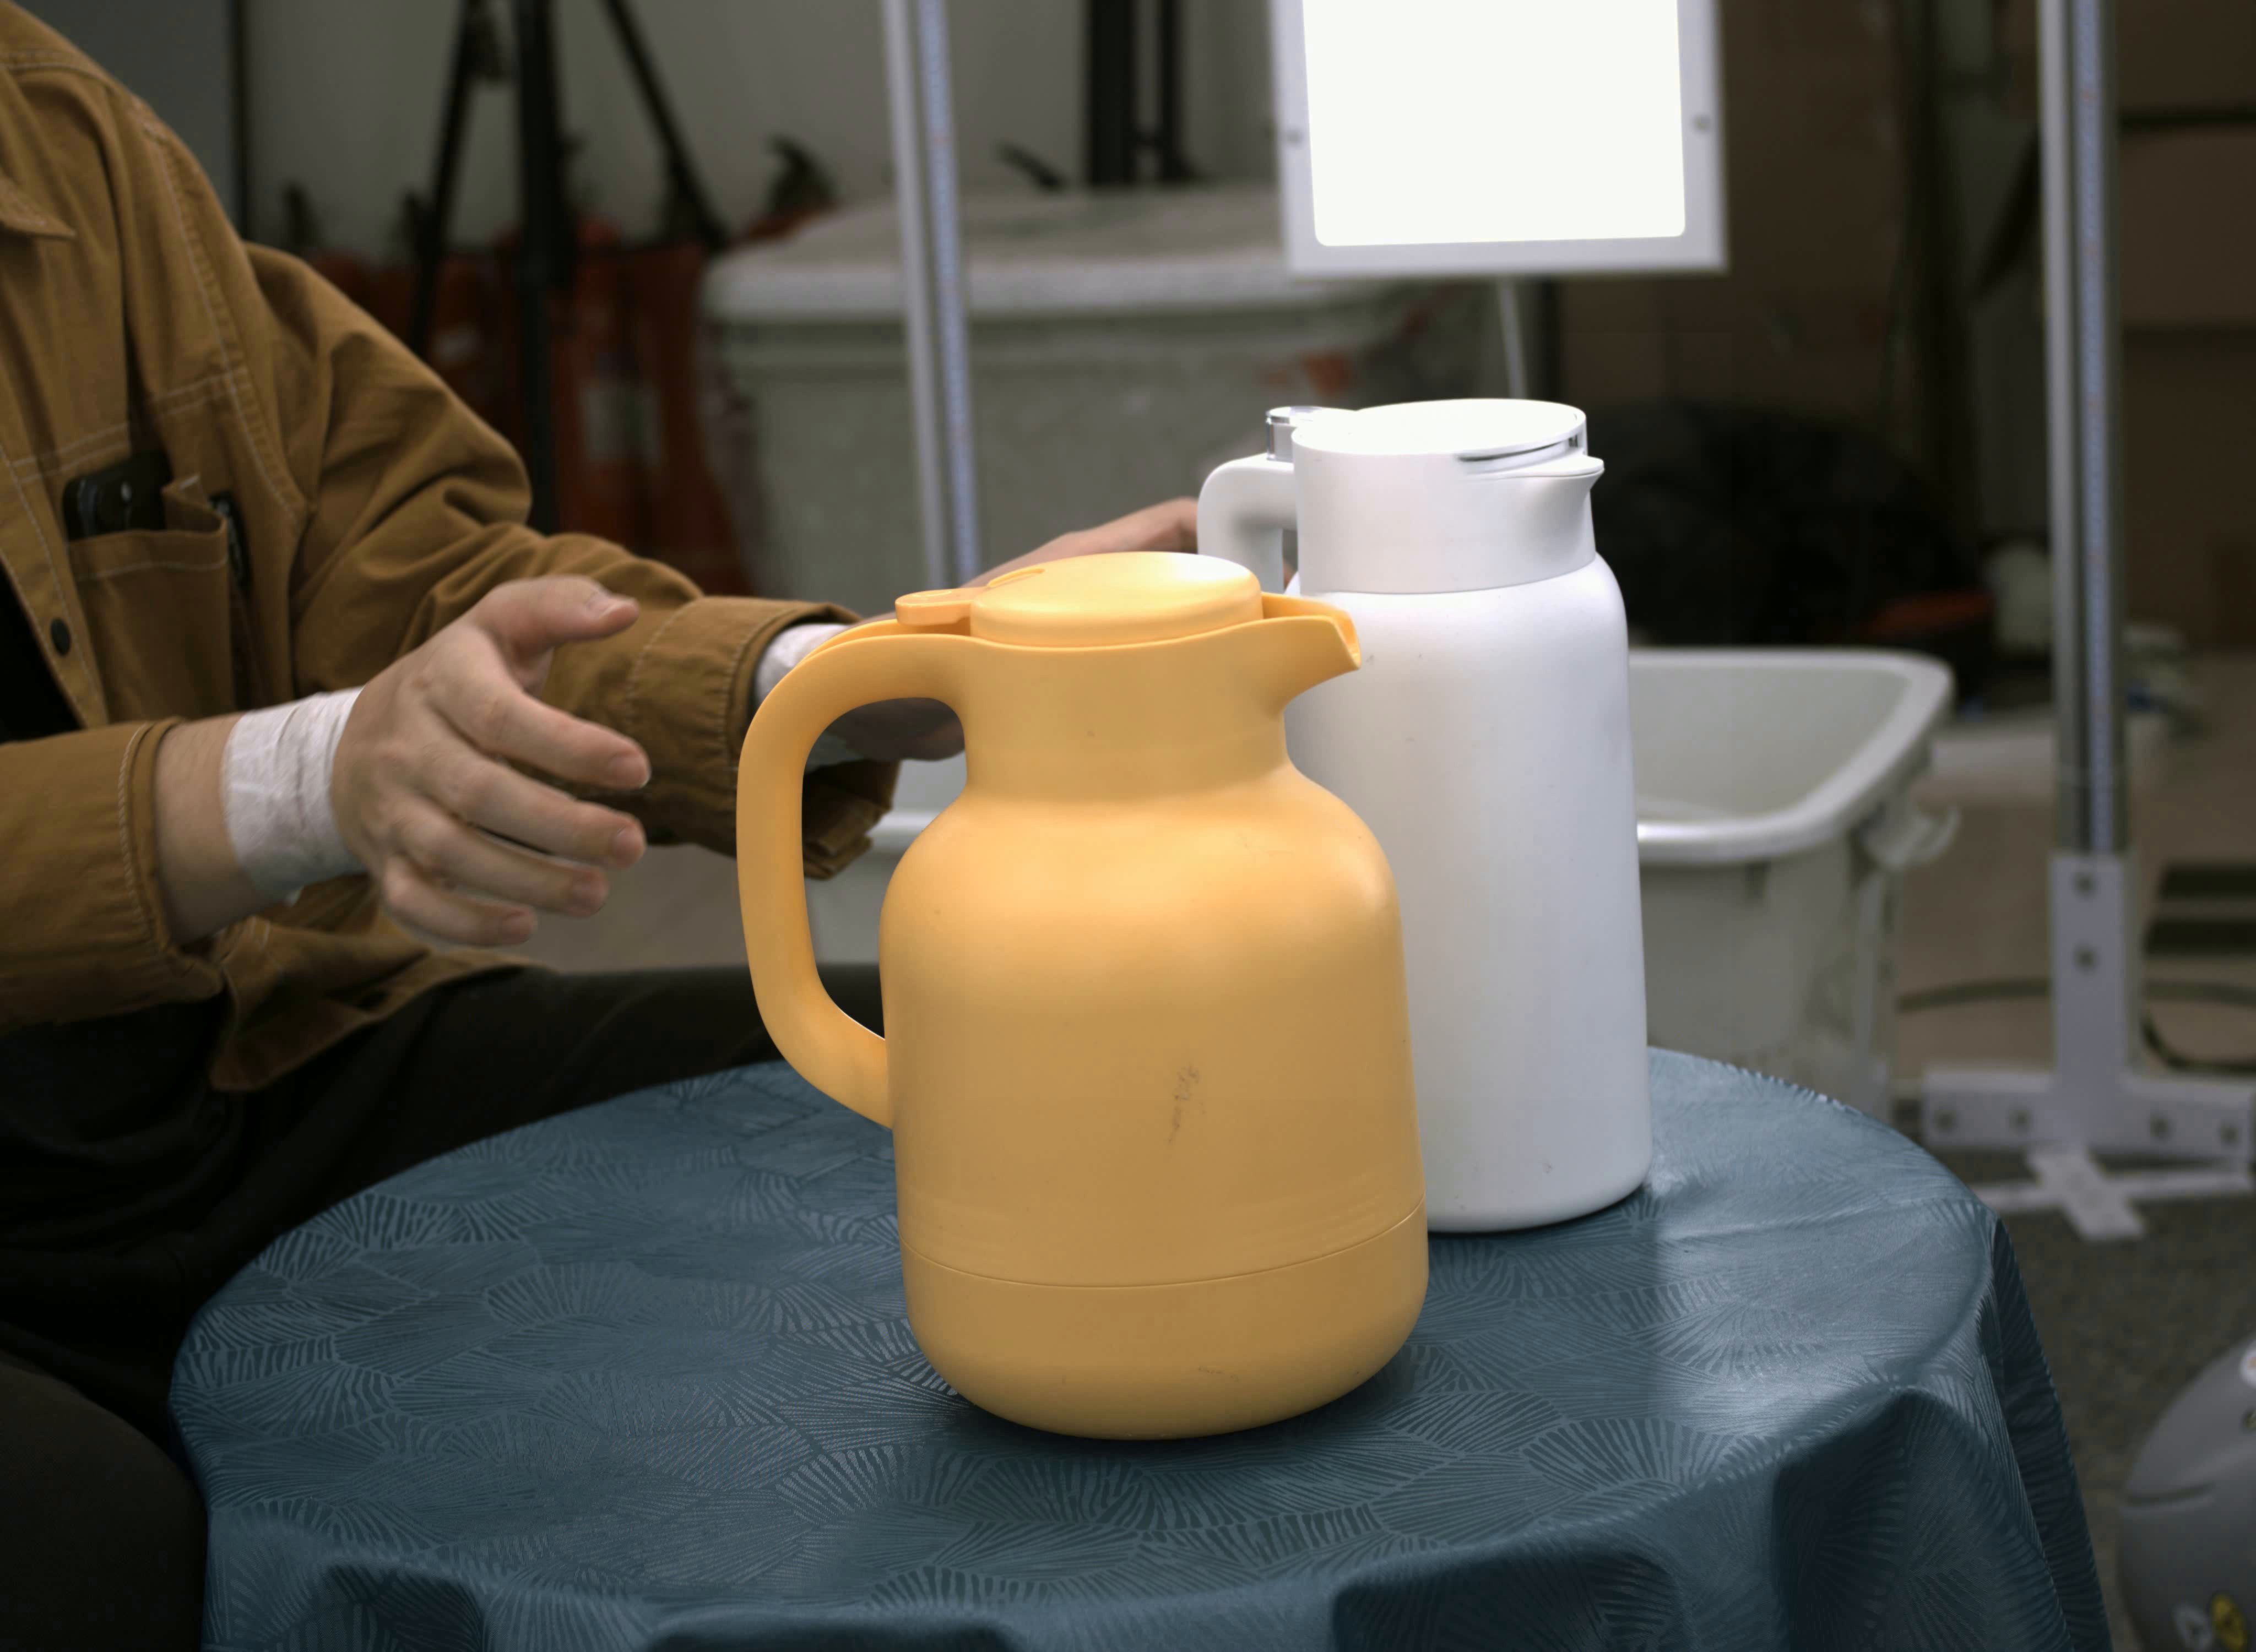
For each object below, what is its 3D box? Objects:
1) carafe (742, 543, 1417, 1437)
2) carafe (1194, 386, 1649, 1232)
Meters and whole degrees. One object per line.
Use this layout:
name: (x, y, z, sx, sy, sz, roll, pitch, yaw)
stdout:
carafe: (-0.015, 0.046, 1.681, 0.204, 0.261, 0.161, 0, 11, 14)
carafe: (0.097, -0.008, 1.848, 0.121, 0.270, 0.176, -20, 20, -41)
